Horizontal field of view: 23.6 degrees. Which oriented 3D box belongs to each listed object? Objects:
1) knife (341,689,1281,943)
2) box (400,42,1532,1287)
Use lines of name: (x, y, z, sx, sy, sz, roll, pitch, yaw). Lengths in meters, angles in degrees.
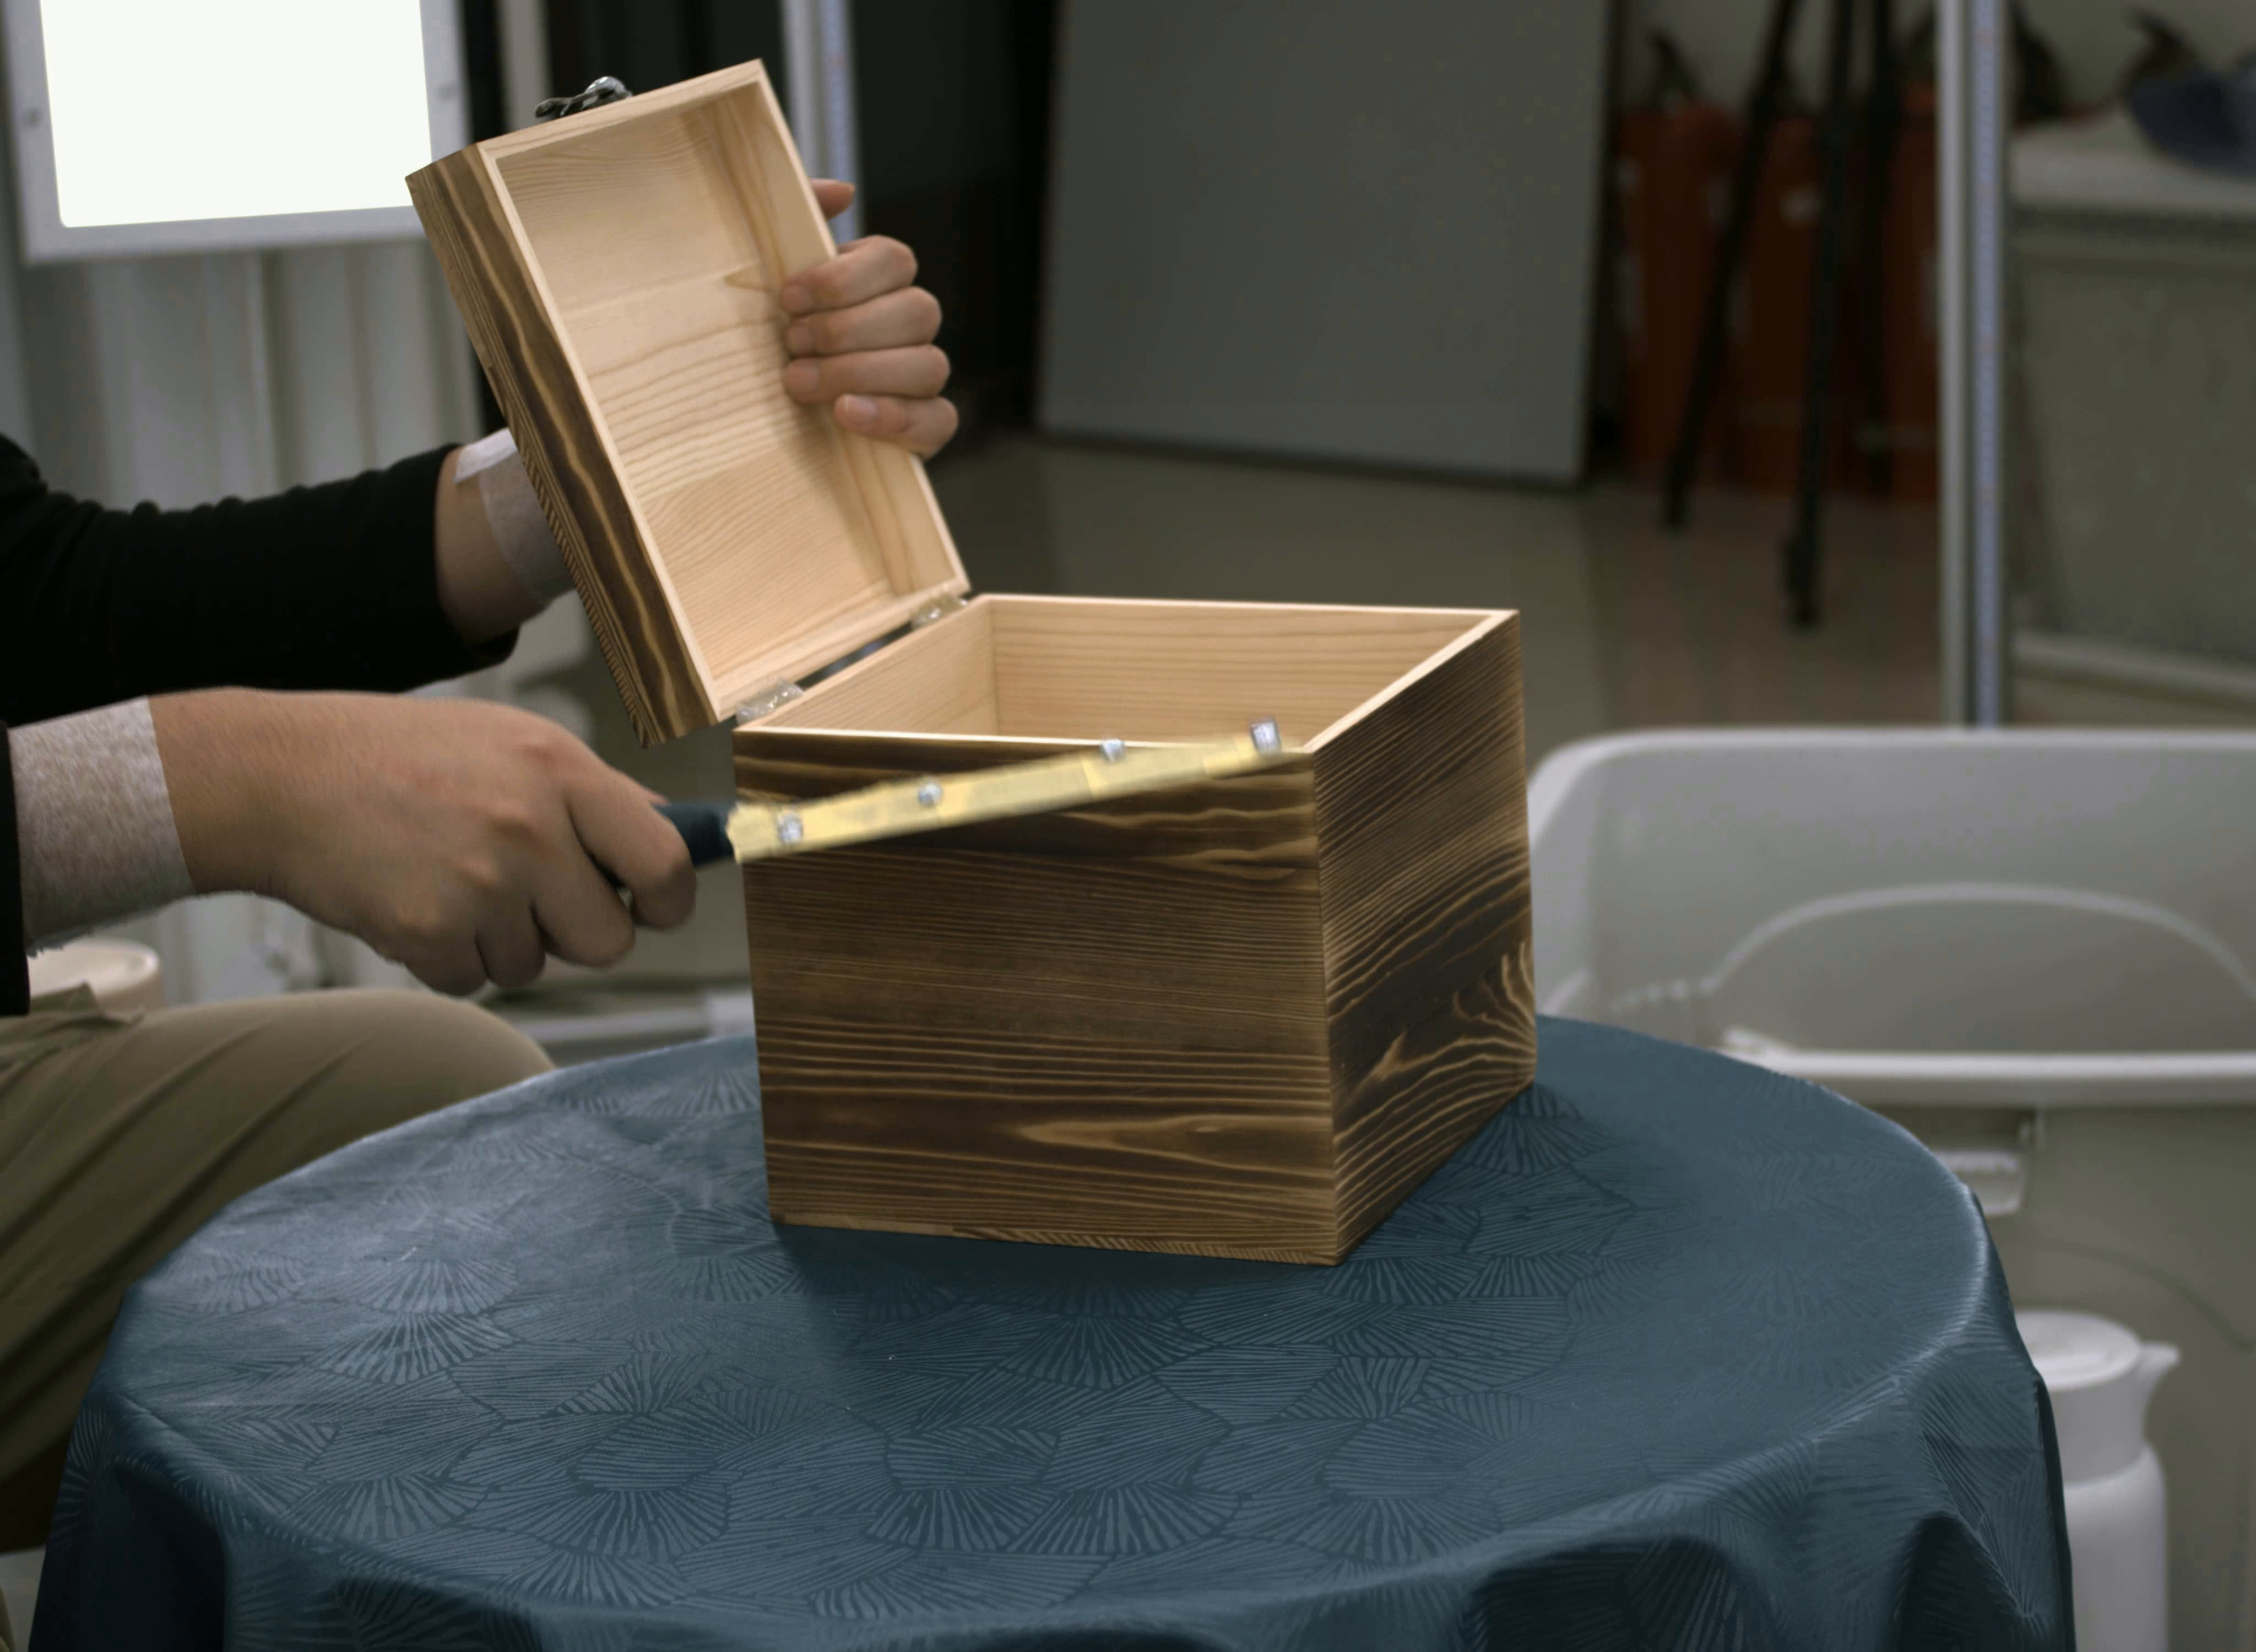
knife: (-0.094, -0.006, 1.594, 0.286, 0.027, 0.081, -13, 5, 2)
box: (-0.047, -0.066, 1.786, 0.322, 0.379, 0.206, 1, 15, 24)
